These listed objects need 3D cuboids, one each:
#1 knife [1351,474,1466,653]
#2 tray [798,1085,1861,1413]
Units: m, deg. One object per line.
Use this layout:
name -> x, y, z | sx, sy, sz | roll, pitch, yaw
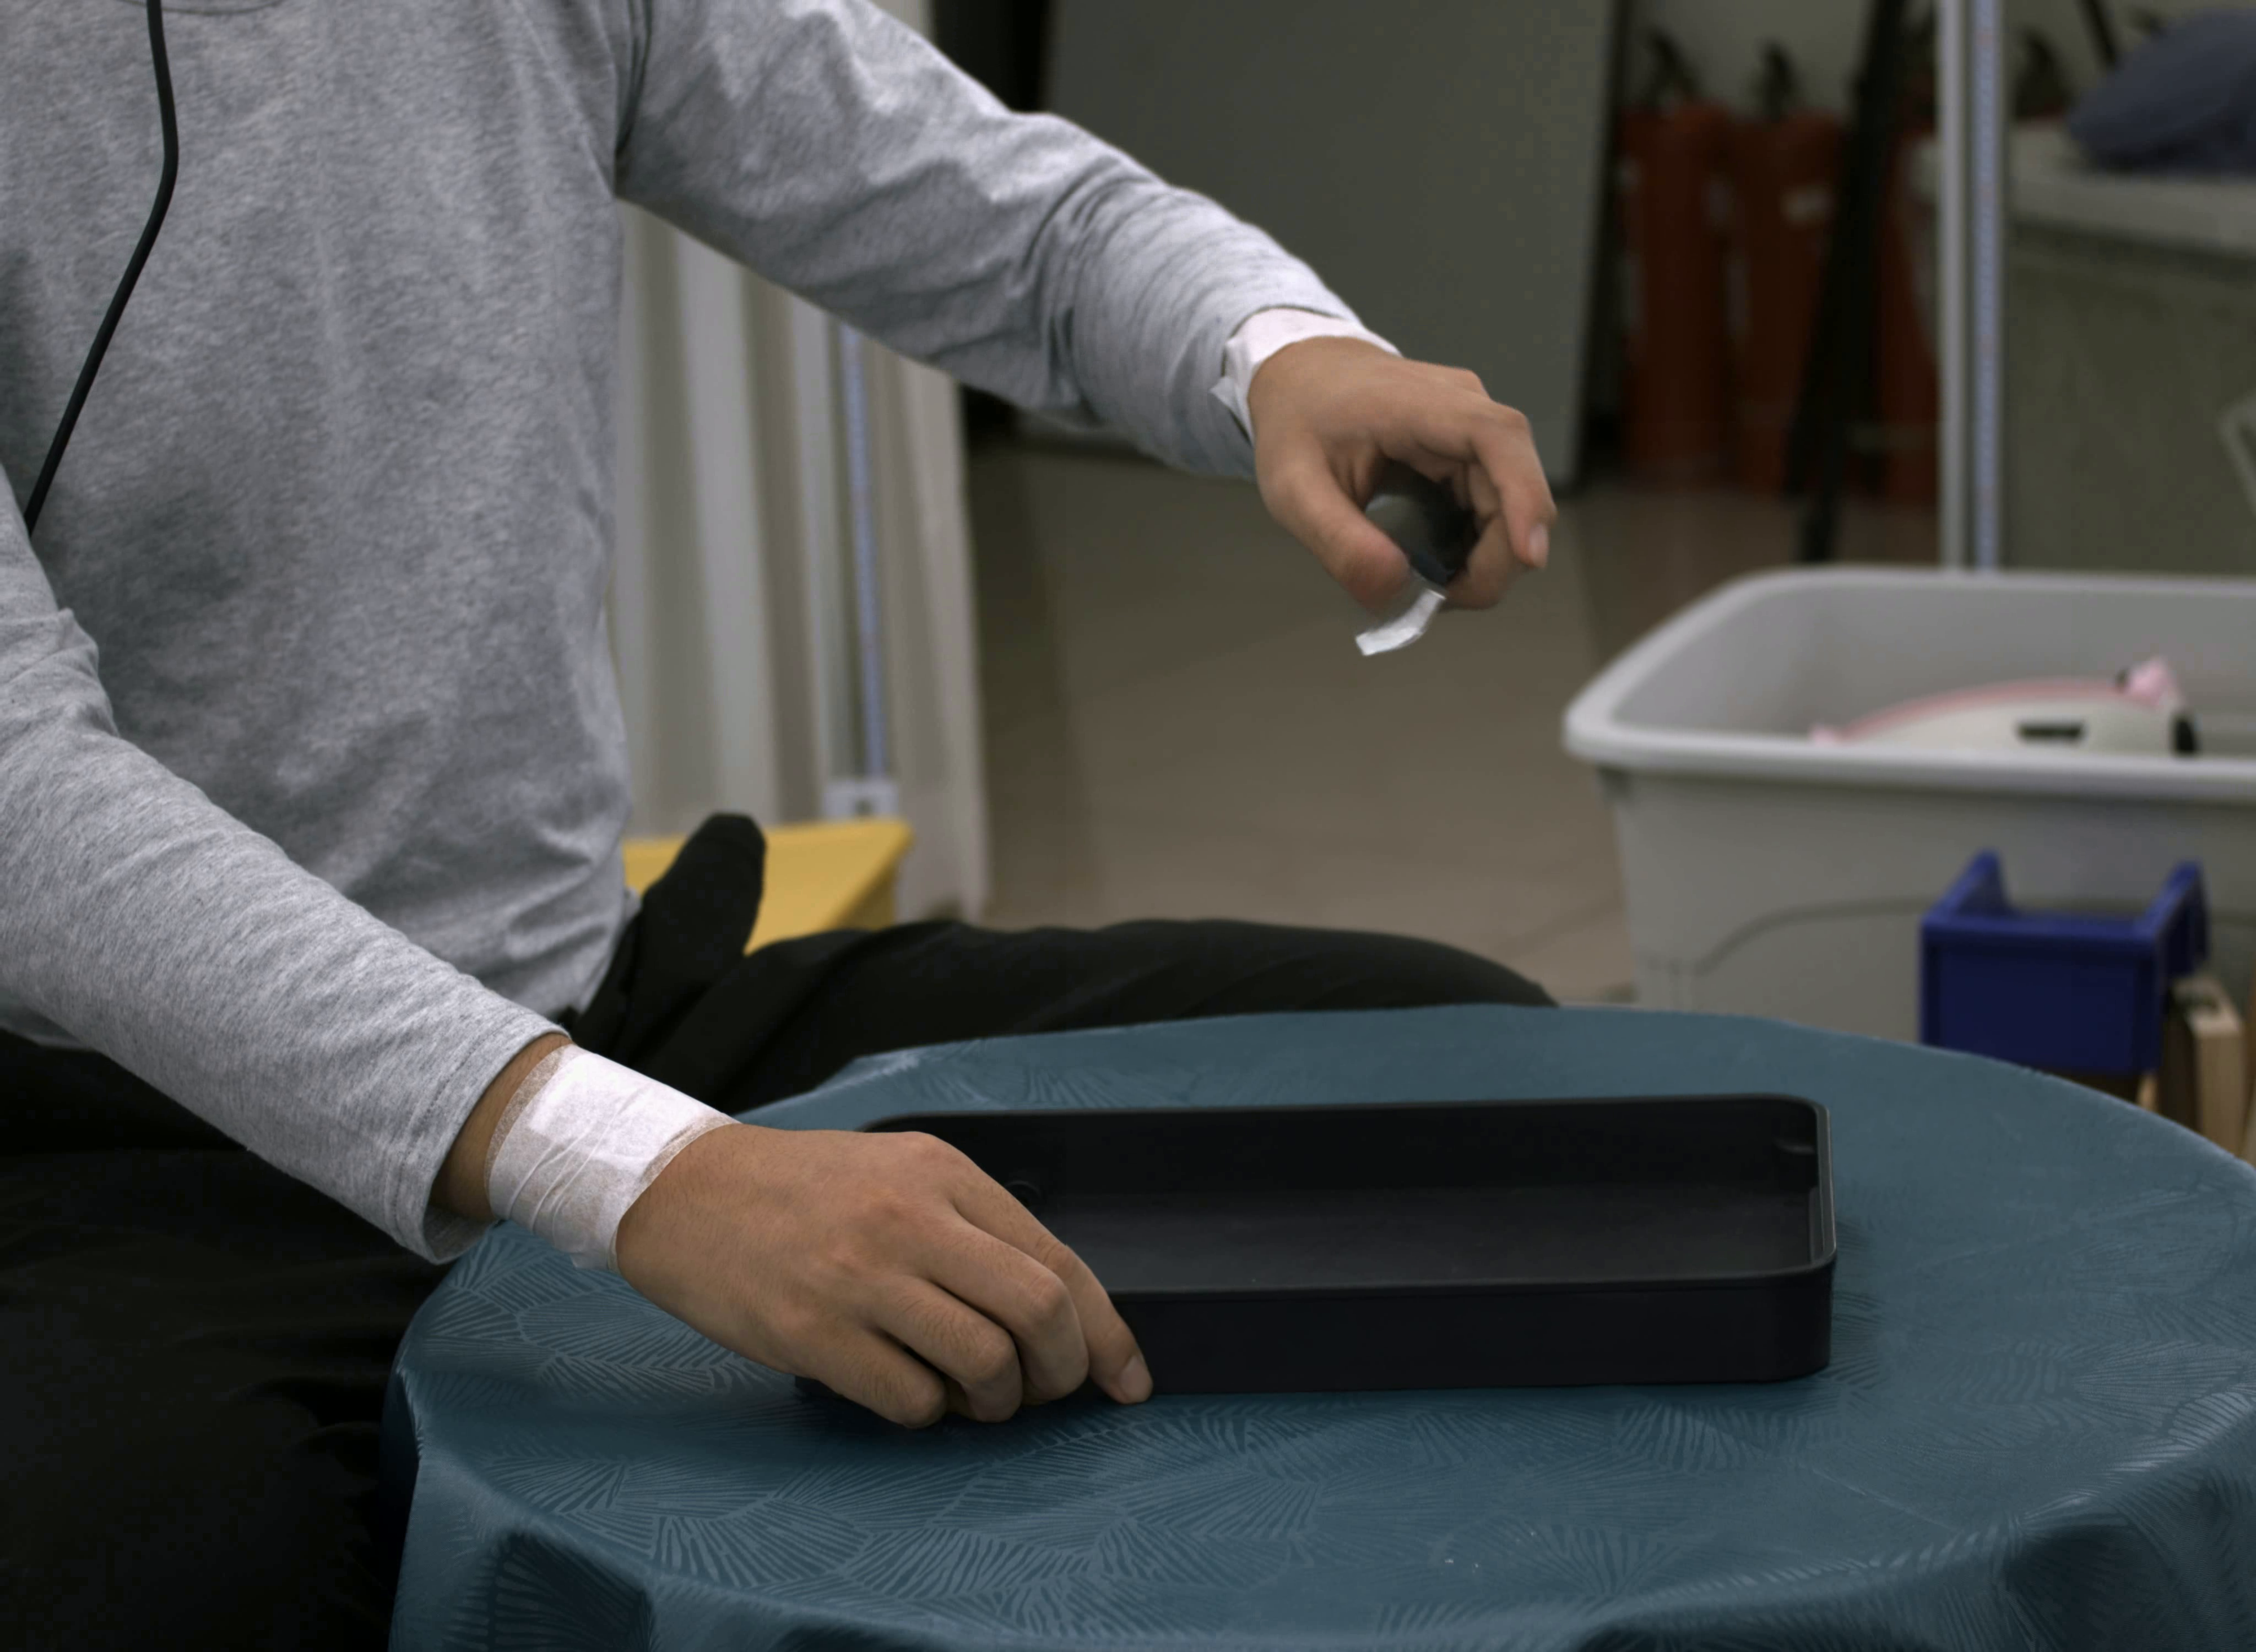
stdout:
knife -> 0.086, -0.082, 1.693 | 0.024, 0.016, 0.237 | 30, 17, 1
tray -> 0.065, 0.128, 1.654 | 0.315, 0.037, 0.184 | -3, 13, 7
